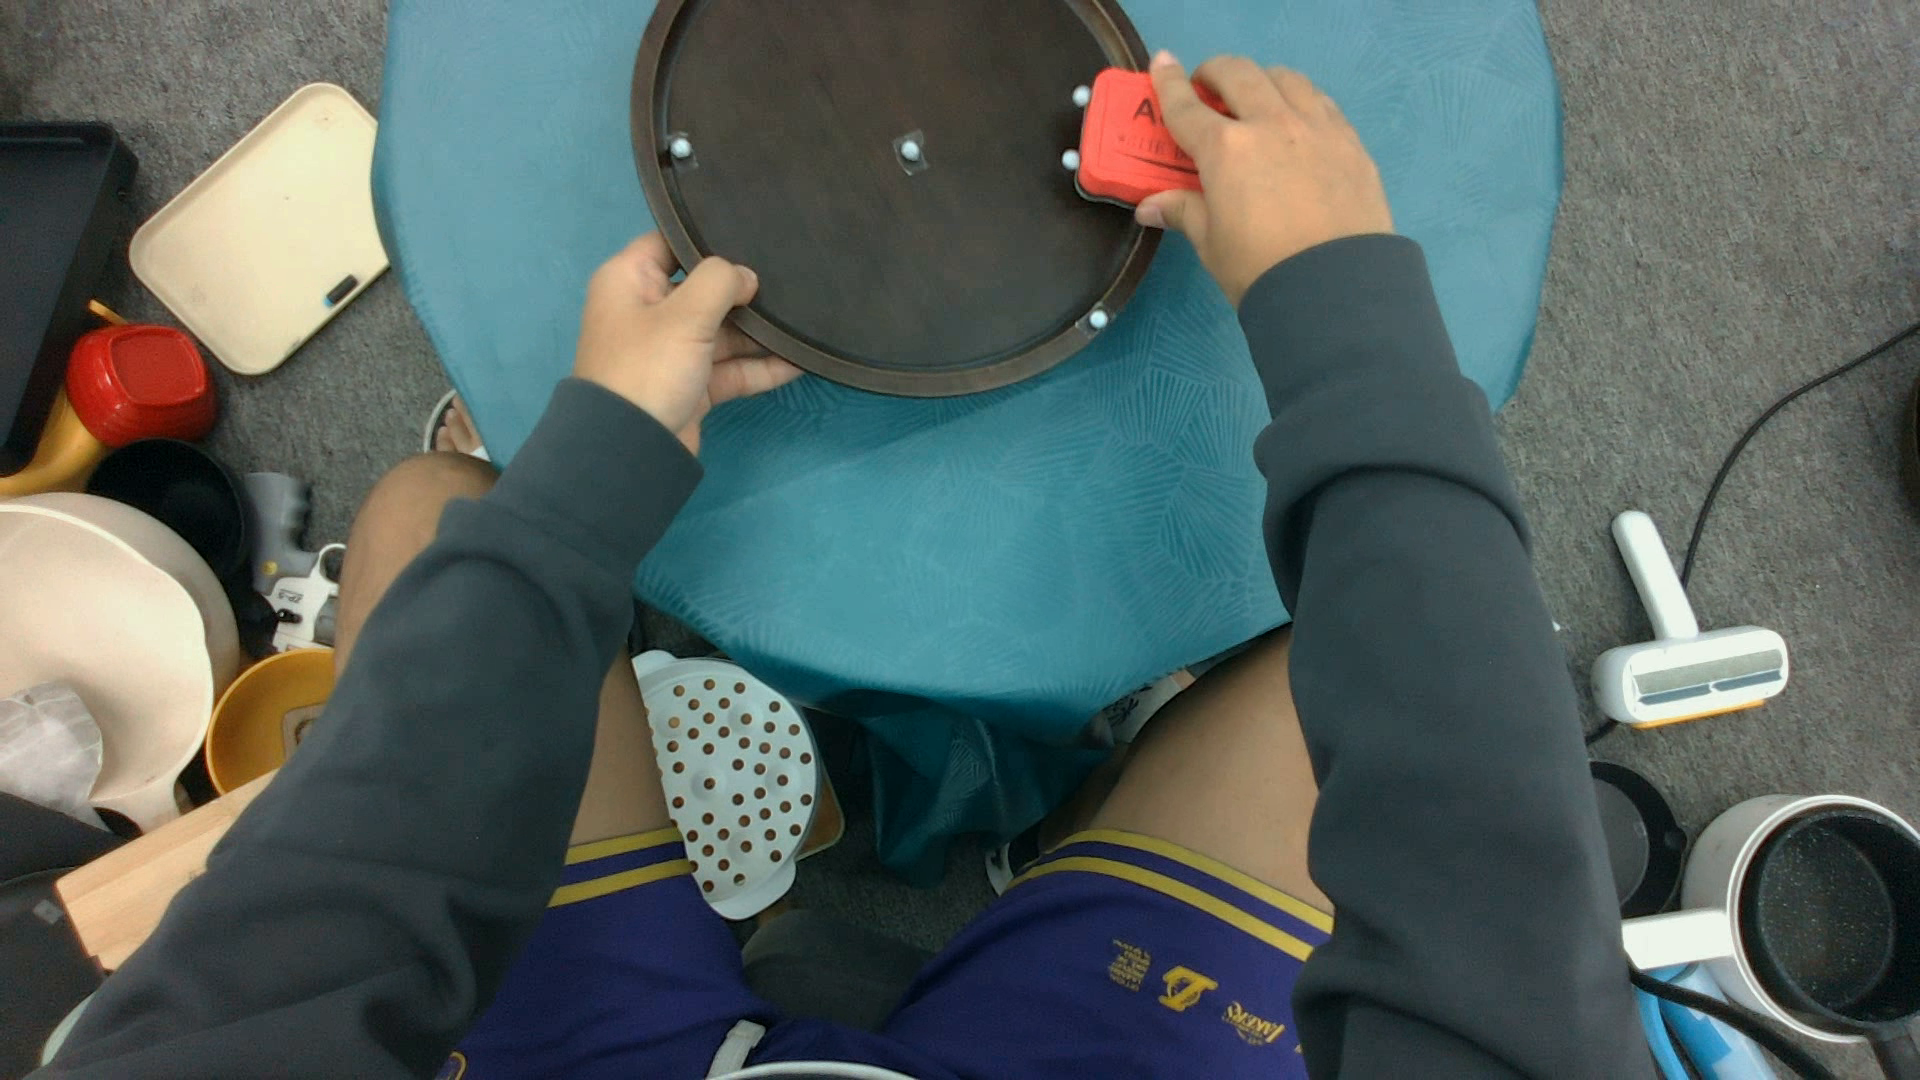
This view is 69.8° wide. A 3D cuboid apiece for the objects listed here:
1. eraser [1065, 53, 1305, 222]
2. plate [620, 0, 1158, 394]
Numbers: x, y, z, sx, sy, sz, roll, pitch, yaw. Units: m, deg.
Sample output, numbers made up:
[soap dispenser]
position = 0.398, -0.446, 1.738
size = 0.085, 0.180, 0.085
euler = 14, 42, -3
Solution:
[eraser]
position = 0.106, -0.188, 0.646
size = 0.108, 0.023, 0.059
euler = 10, 78, -9
[plate]
position = -0.029, -0.188, 0.643
size = 0.255, 0.029, 0.255
euler = 3, 79, -14
